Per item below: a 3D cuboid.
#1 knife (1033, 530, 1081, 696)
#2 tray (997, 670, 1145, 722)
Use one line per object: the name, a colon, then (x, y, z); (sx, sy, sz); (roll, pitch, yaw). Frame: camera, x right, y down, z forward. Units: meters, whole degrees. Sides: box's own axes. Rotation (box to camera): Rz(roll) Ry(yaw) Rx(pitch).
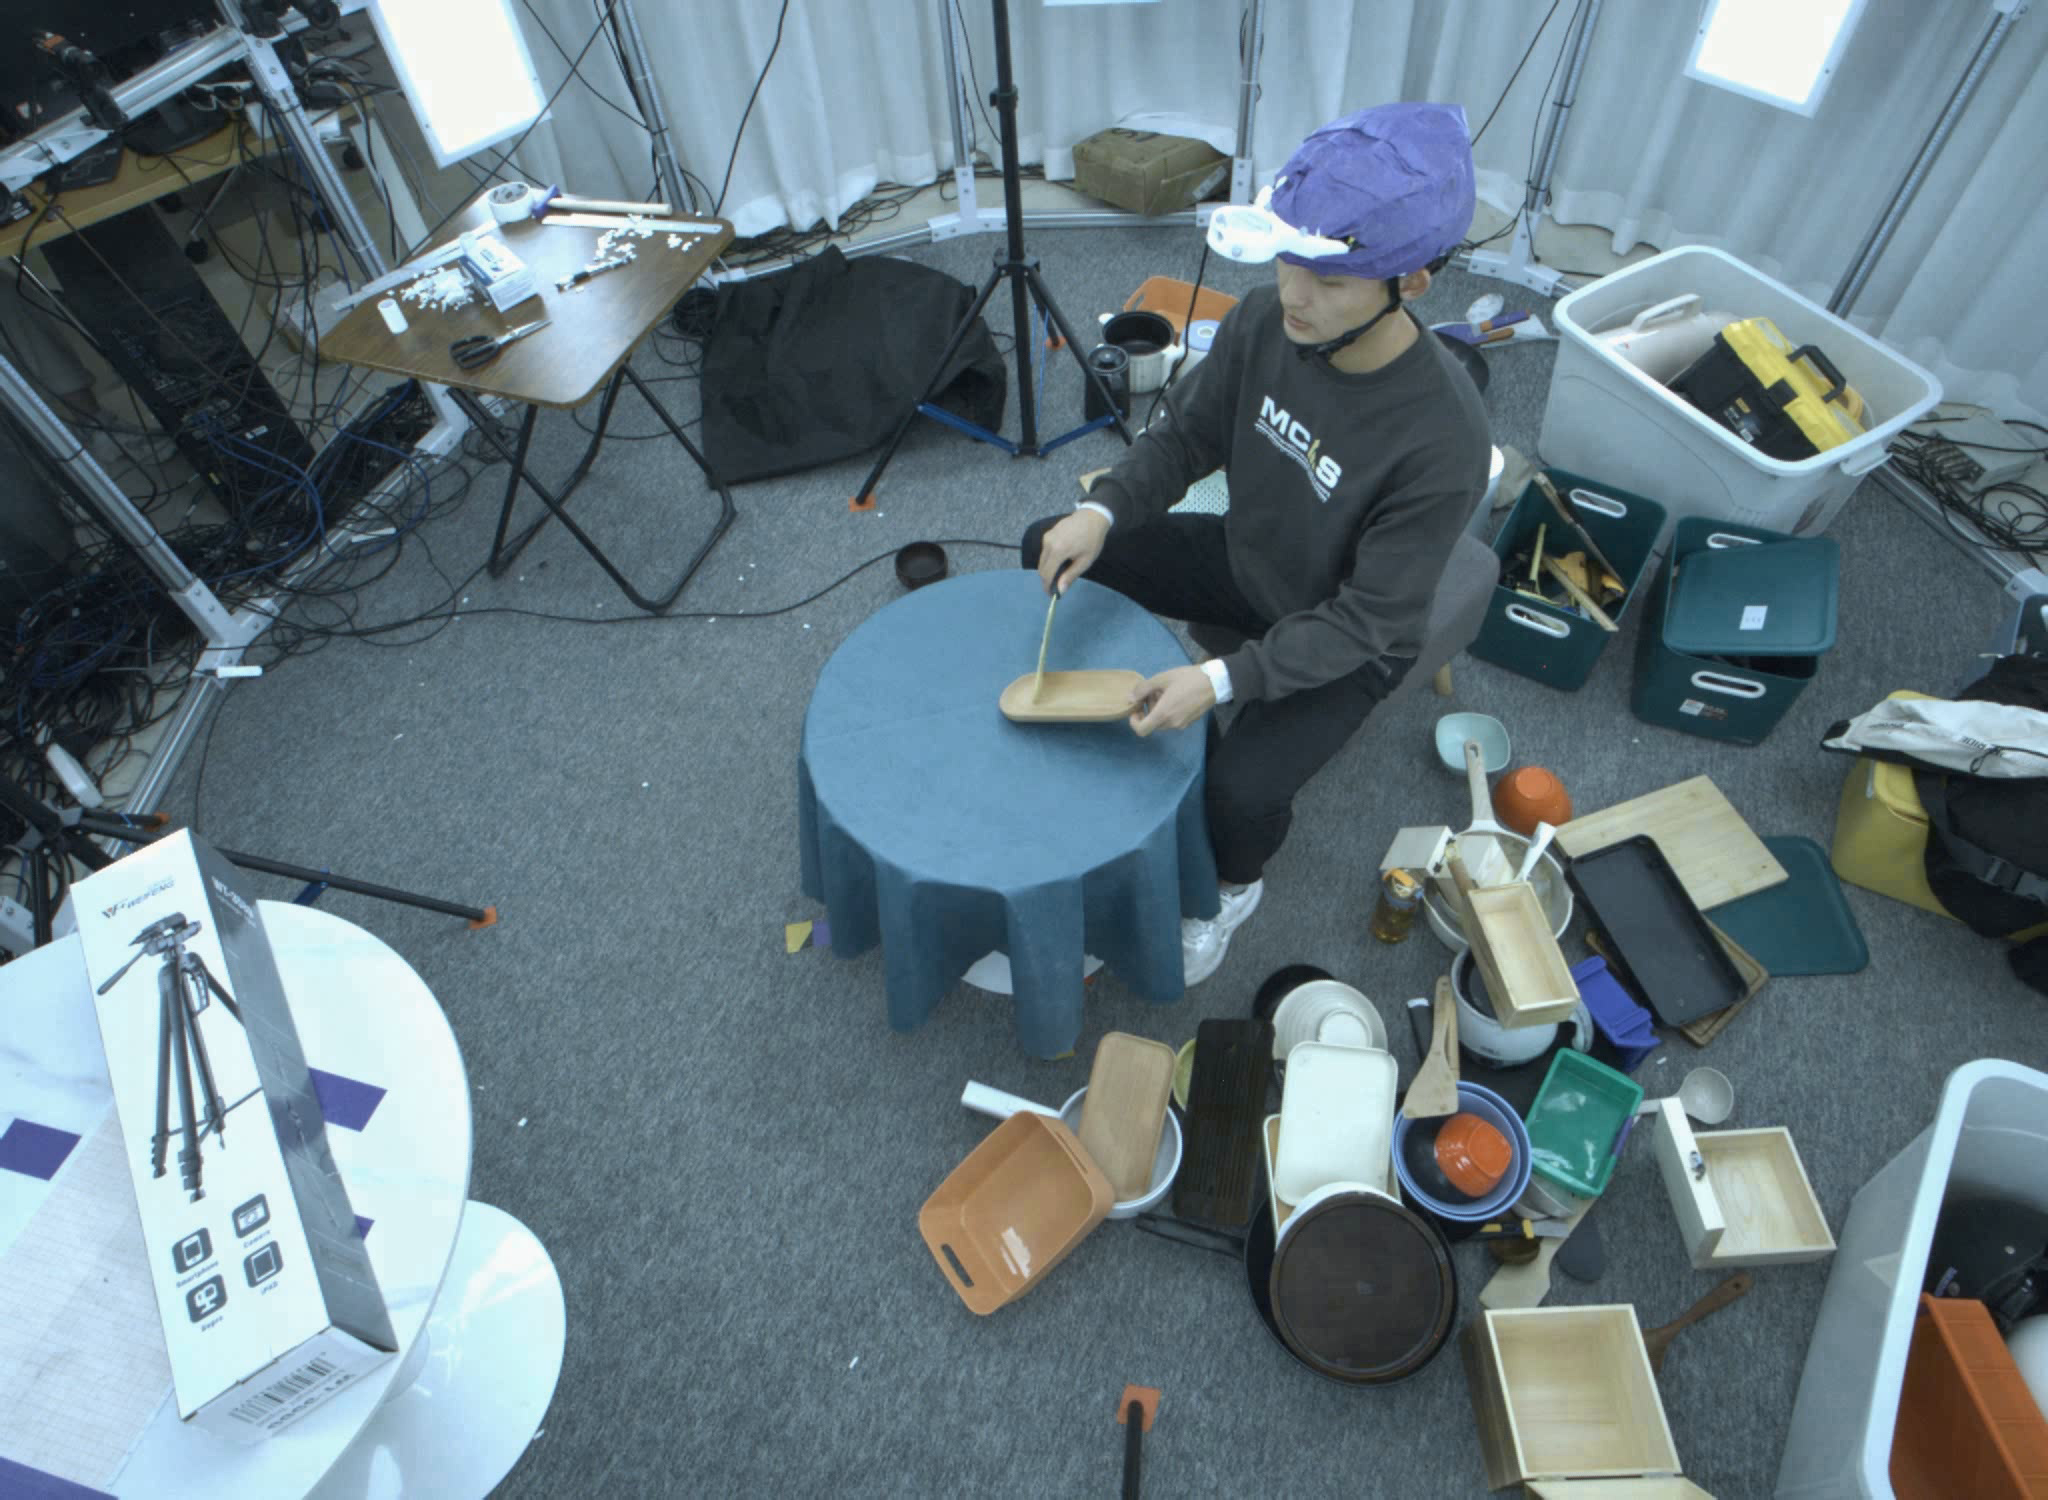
knife: (0.046, -0.207, 1.852); (0.027, 0.081, 0.288); (13, 66, 3)
tray: (0.068, -0.077, 1.796); (0.227, 0.020, 0.101); (0, 41, 27)
